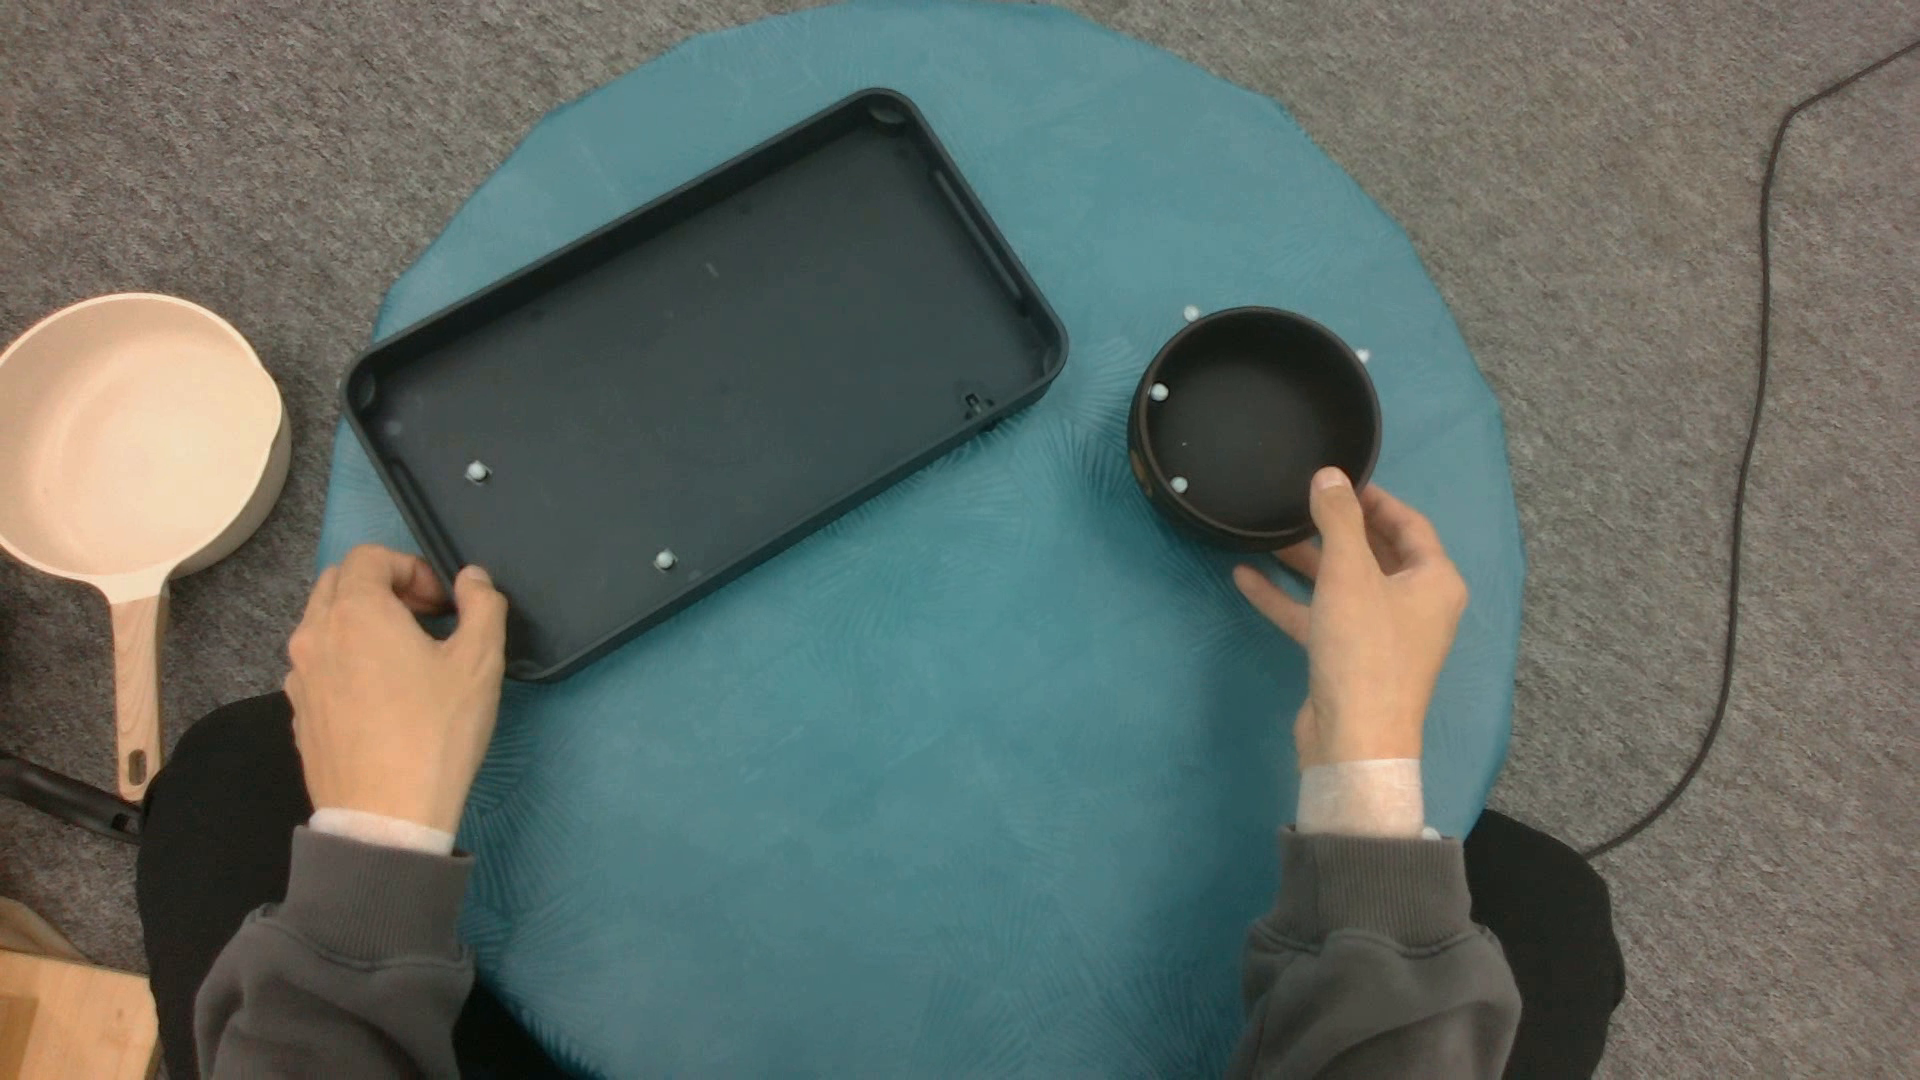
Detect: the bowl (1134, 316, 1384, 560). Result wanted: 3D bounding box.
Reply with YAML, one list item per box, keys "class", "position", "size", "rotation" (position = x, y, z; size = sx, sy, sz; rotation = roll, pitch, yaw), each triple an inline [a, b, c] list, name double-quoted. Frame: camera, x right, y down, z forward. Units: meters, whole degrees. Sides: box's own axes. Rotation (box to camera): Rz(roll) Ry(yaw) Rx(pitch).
- class: "bowl"
  position: [0.143, -0.046, 0.686]
  size: [0.118, 0.069, 0.118]
  rotation: [1, 78, -3]

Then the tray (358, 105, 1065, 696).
- class: "tray"
  position: [-0.120, -0.075, 0.698]
  size: [0.318, 0.037, 0.184]
  rotation: [-33, 81, -10]
